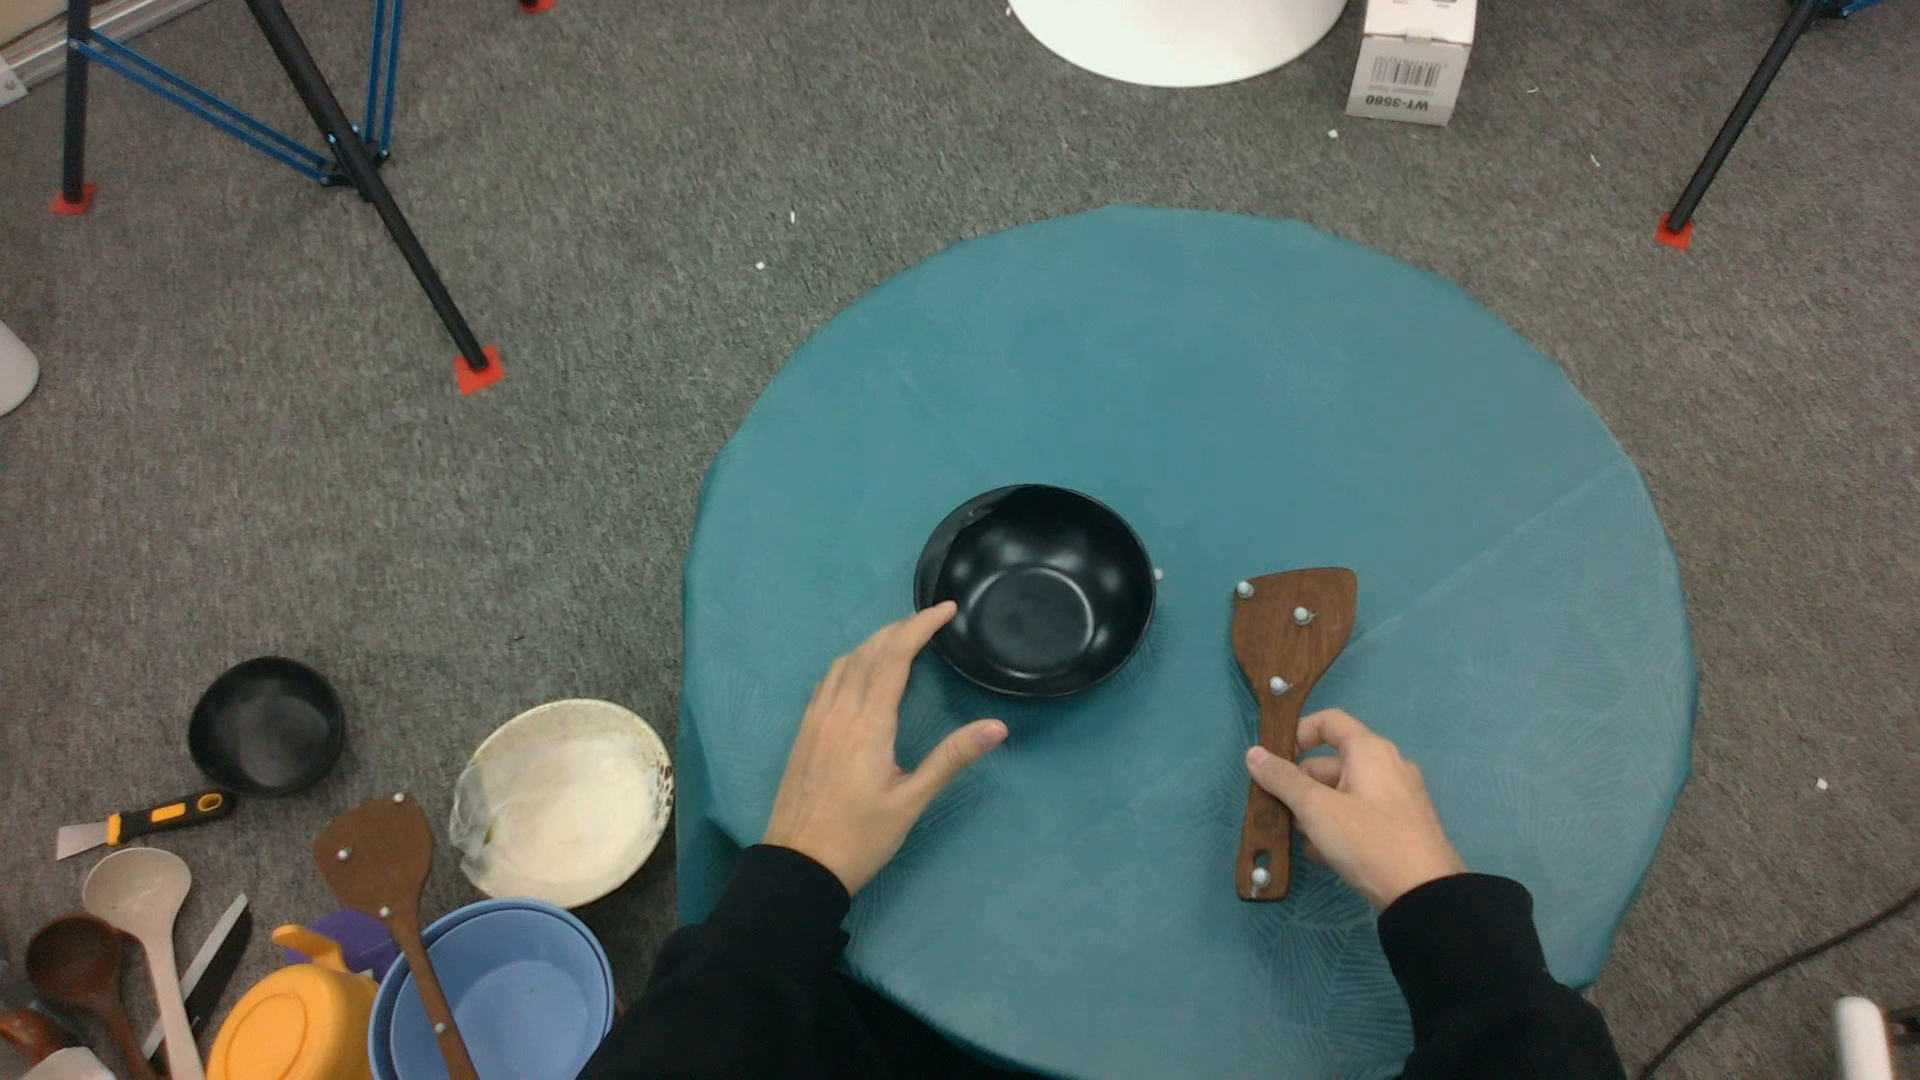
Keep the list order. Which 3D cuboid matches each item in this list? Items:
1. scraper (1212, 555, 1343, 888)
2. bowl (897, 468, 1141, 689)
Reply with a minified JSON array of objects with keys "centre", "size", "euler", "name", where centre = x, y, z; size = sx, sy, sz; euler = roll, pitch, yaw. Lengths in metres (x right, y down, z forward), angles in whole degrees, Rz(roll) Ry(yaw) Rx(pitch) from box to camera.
[{"centre":[0.165,0.093,0.749],"size":[0.075,0.011,0.212],"euler":[-7,46,27],"name":"scraper"},{"centre":[0.032,0.029,0.797],"size":[0.140,0.049,0.140],"euler":[1,59,-2],"name":"bowl"}]
